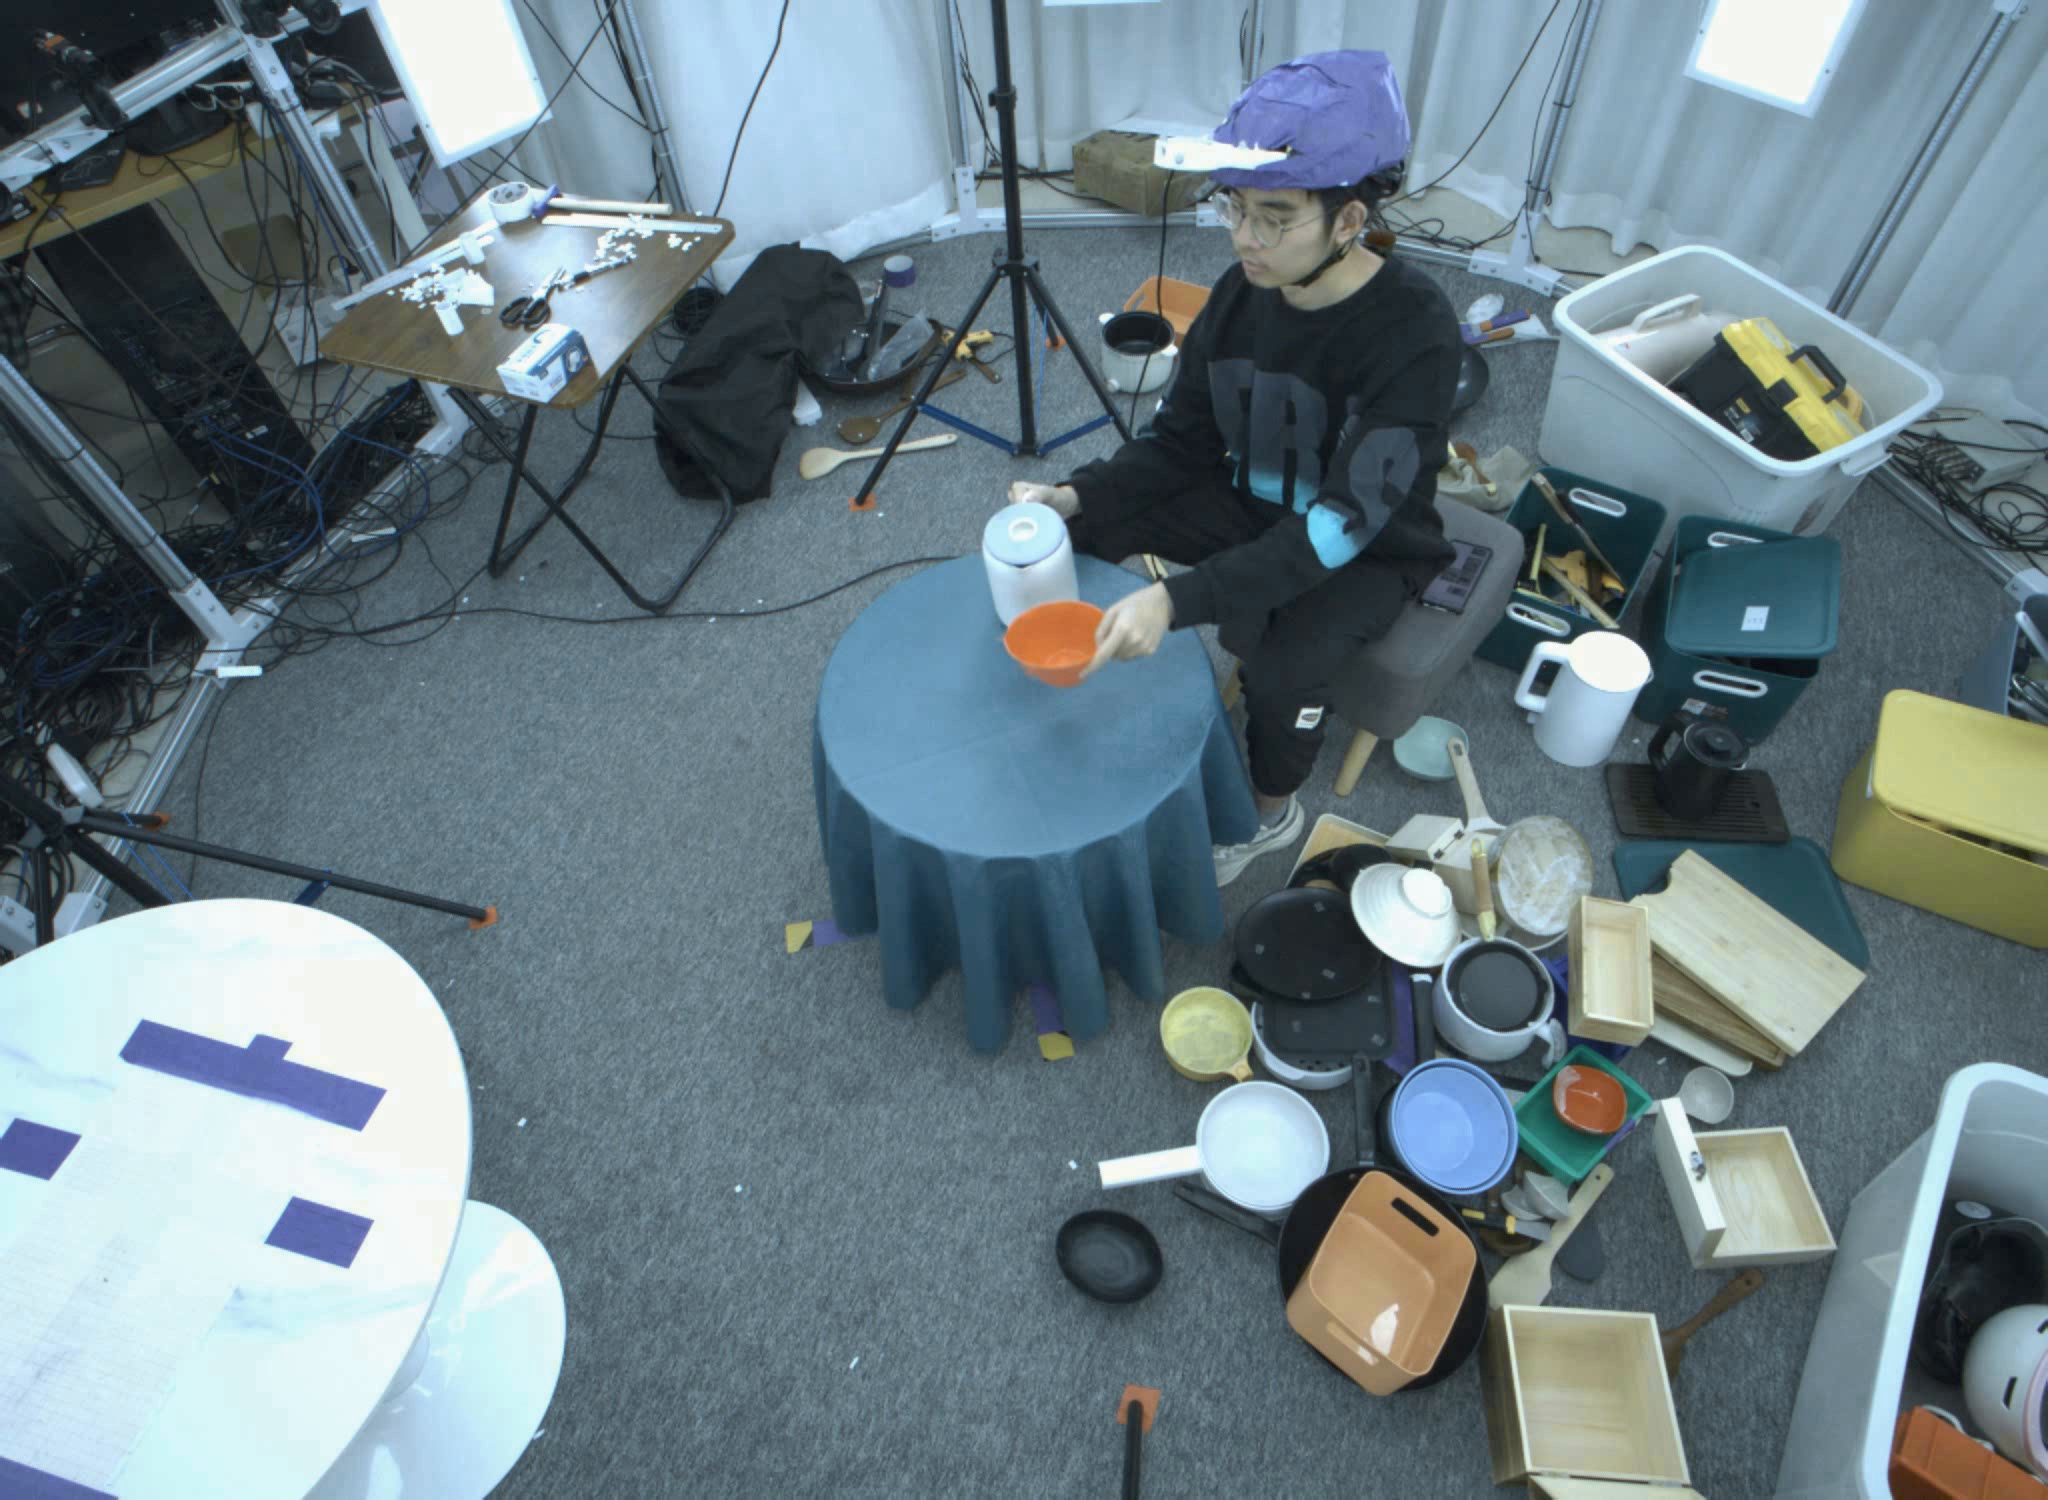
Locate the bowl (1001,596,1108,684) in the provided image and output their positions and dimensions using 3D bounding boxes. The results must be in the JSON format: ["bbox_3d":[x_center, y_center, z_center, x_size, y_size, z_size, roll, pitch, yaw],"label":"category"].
[{"bbox_3d":[0.049,-0.140,1.710,0.147,0.106,0.146,-5,53,8],"label":"bowl"}]

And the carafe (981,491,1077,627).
[{"bbox_3d":[0.009,-0.292,1.850,0.132,0.185,0.189,-2,56,5],"label":"carafe"}]
